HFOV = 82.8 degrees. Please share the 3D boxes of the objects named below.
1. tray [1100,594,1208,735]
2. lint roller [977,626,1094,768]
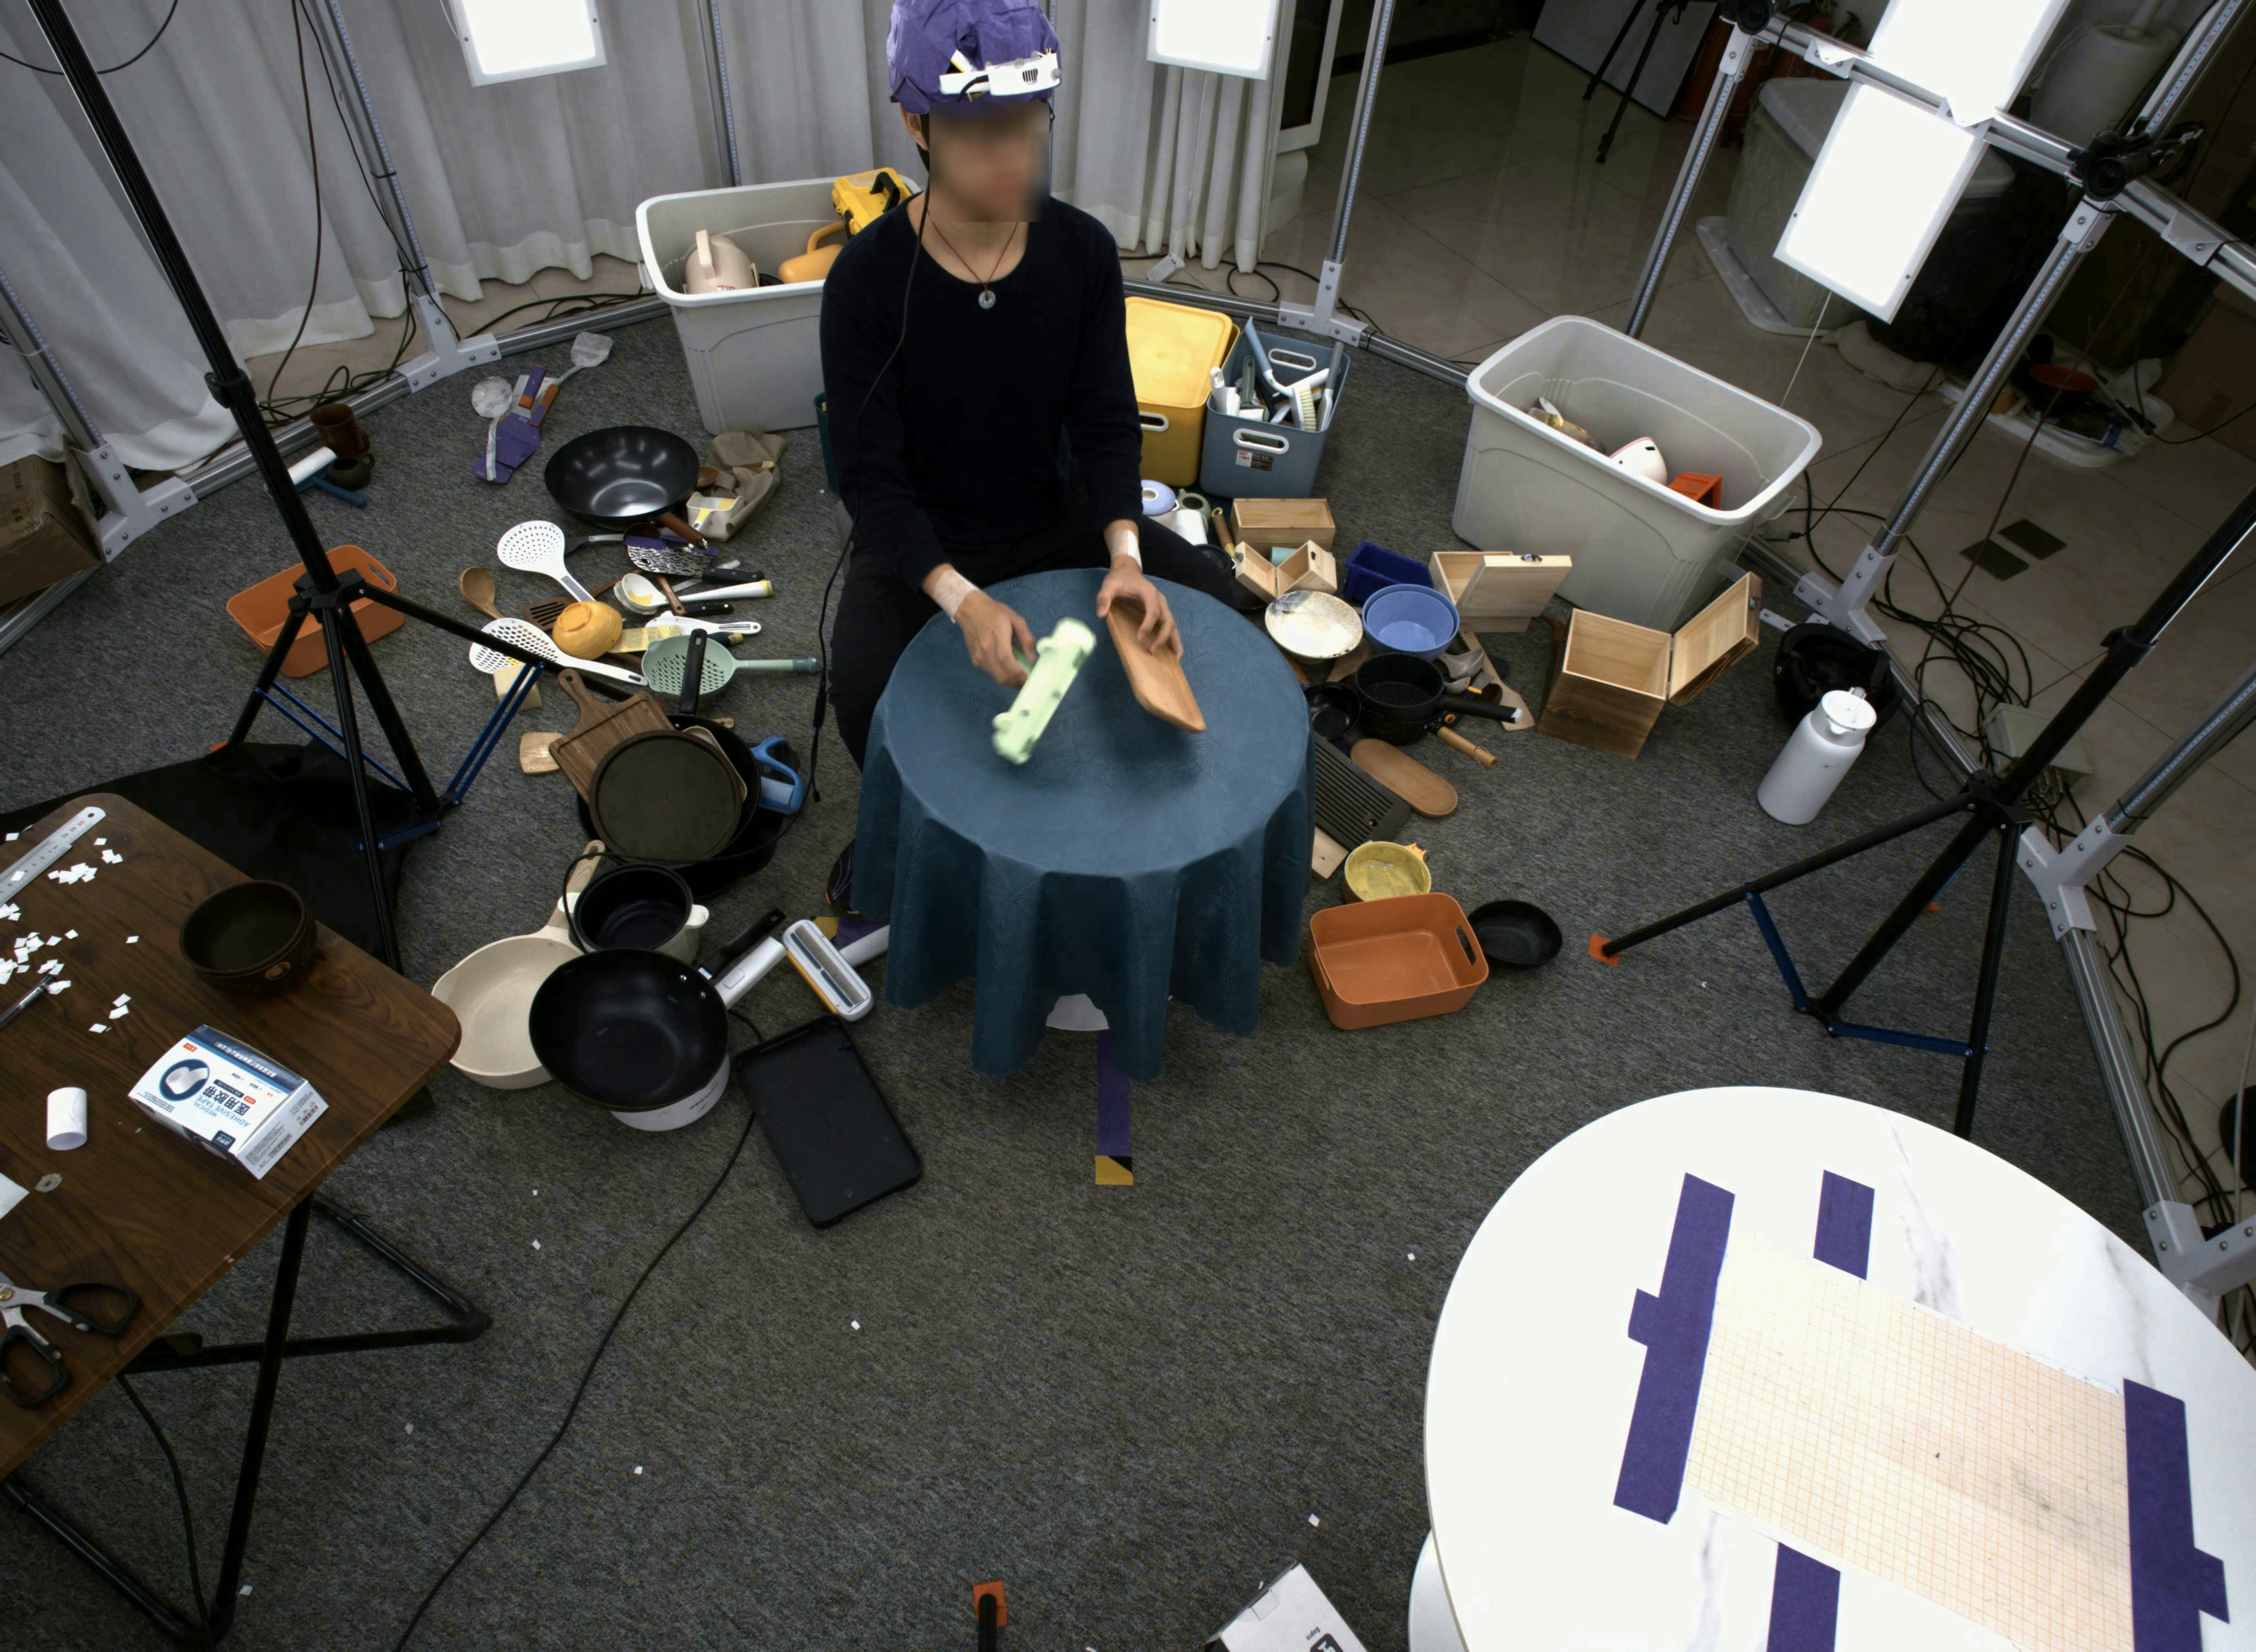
[{"bbox_3d":[0.033,-0.225,1.777,0.128,0.022,0.257,25,32,-37],"label":"tray"},{"bbox_3d":[-0.157,-0.206,1.708,0.186,0.197,0.081,43,13,26],"label":"lint roller"}]
